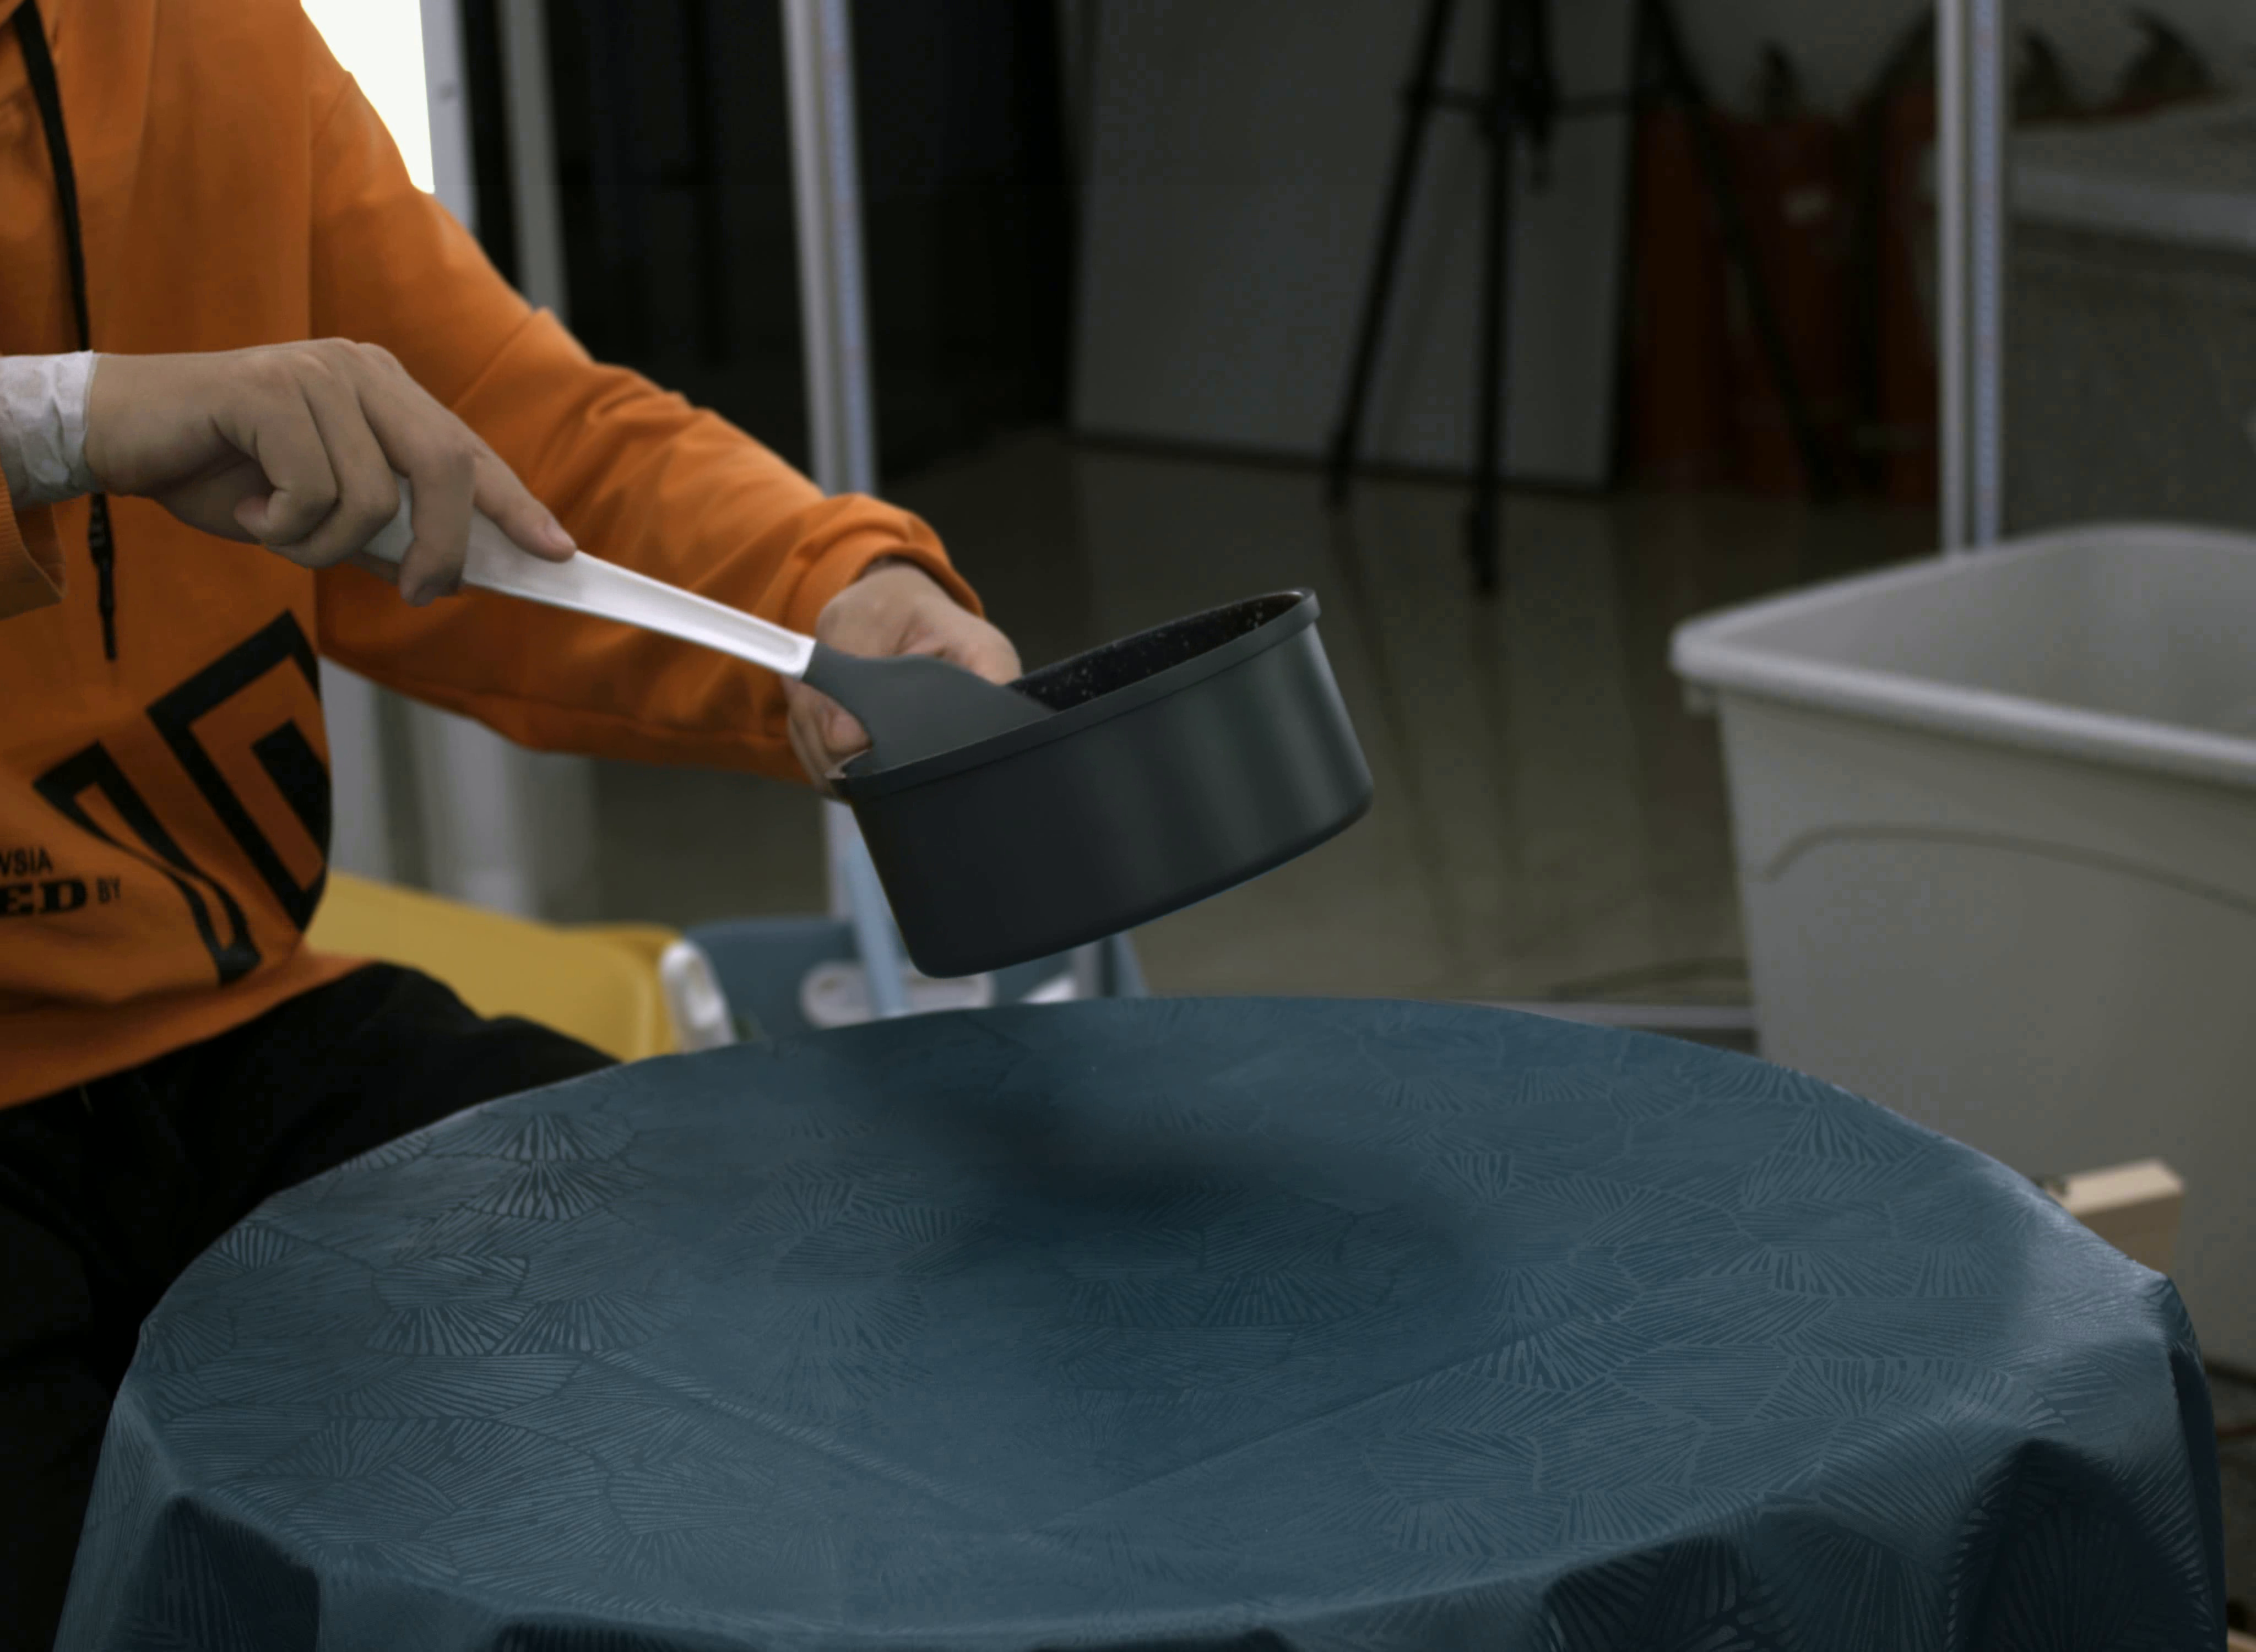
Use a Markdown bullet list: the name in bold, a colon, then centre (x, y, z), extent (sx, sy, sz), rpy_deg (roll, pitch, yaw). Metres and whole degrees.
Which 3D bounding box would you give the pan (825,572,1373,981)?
- **pan**: centre (-0.032, -0.017, 1.832), extent (0.169, 0.087, 0.331), rpy_deg (-22, 7, -16)

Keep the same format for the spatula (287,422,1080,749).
- **spatula**: centre (-0.137, -0.068, 1.783), extent (0.283, 0.059, 0.032), rpy_deg (20, -31, -8)
